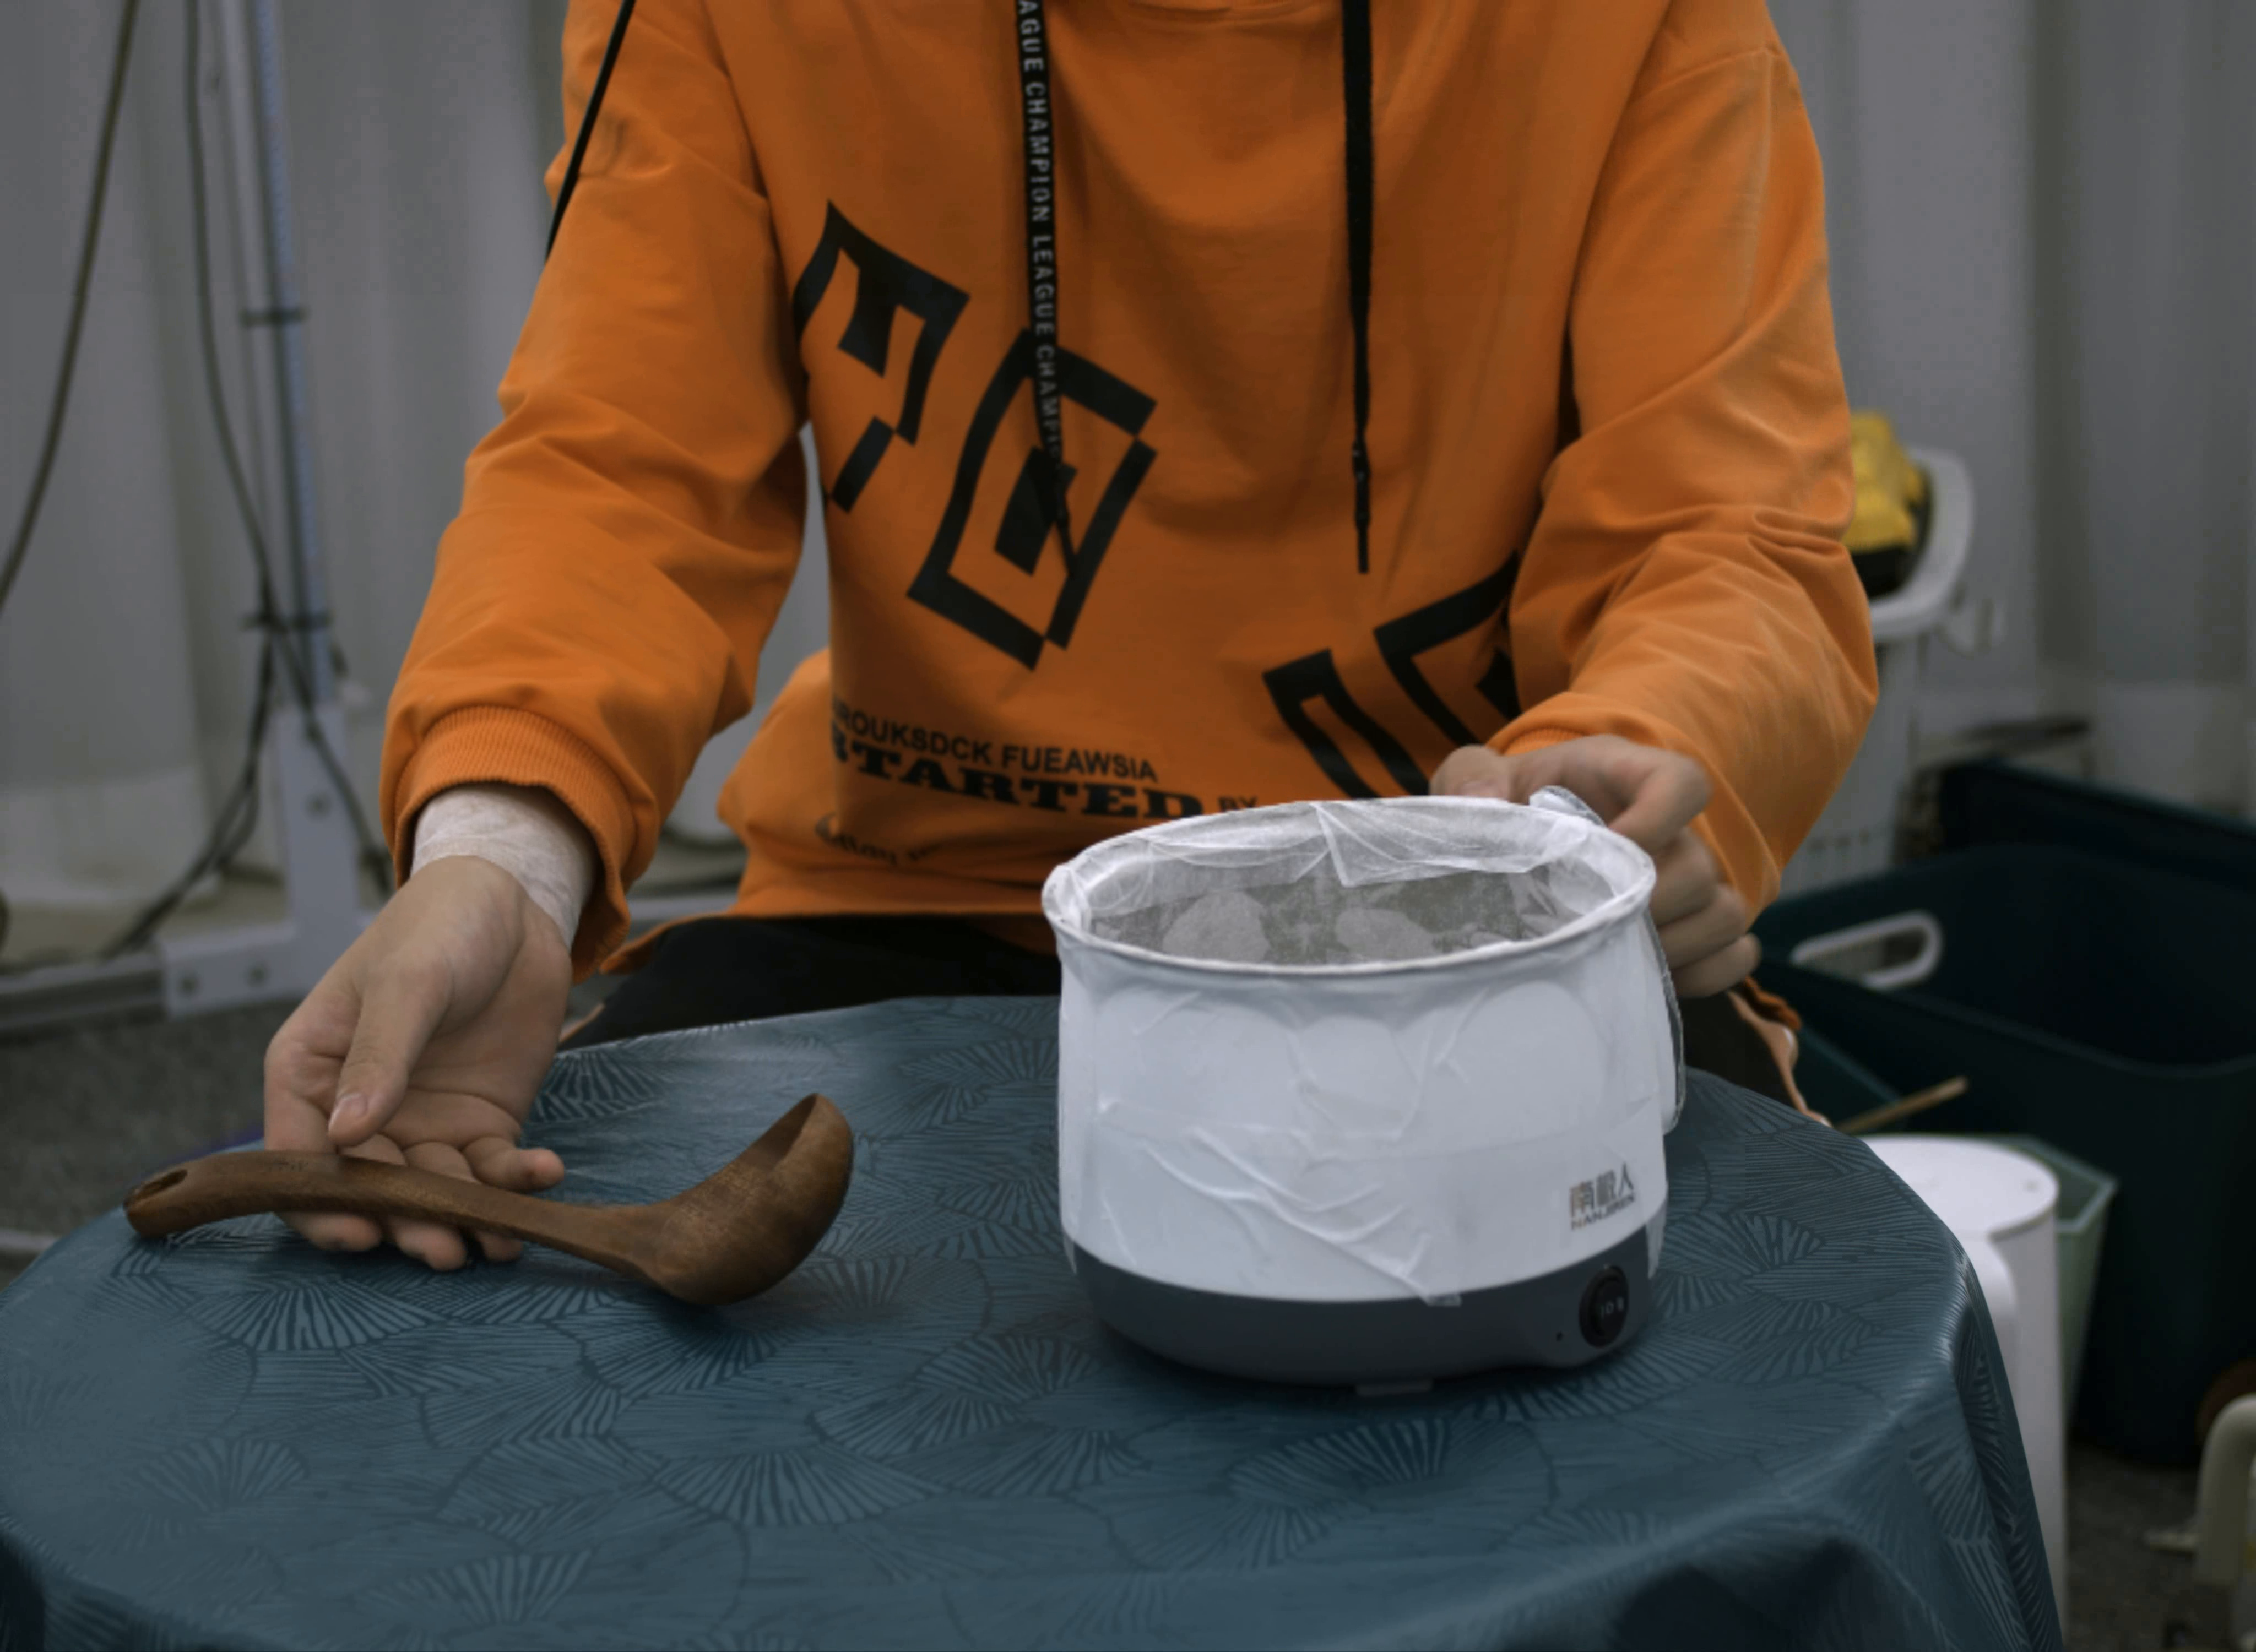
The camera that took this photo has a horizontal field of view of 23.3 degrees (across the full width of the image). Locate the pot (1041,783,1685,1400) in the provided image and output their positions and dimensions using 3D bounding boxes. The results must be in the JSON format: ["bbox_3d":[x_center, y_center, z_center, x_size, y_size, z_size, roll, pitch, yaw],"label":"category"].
[{"bbox_3d":[0.084,0.070,1.602,0.179,0.136,0.233,9,20,38],"label":"pot"}]

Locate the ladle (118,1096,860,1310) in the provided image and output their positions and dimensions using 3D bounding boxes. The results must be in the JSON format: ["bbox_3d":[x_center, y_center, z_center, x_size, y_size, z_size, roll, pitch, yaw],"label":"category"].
[{"bbox_3d":[-0.200,0.107,1.664,0.260,0.064,0.077,4,30,23],"label":"ladle"}]
